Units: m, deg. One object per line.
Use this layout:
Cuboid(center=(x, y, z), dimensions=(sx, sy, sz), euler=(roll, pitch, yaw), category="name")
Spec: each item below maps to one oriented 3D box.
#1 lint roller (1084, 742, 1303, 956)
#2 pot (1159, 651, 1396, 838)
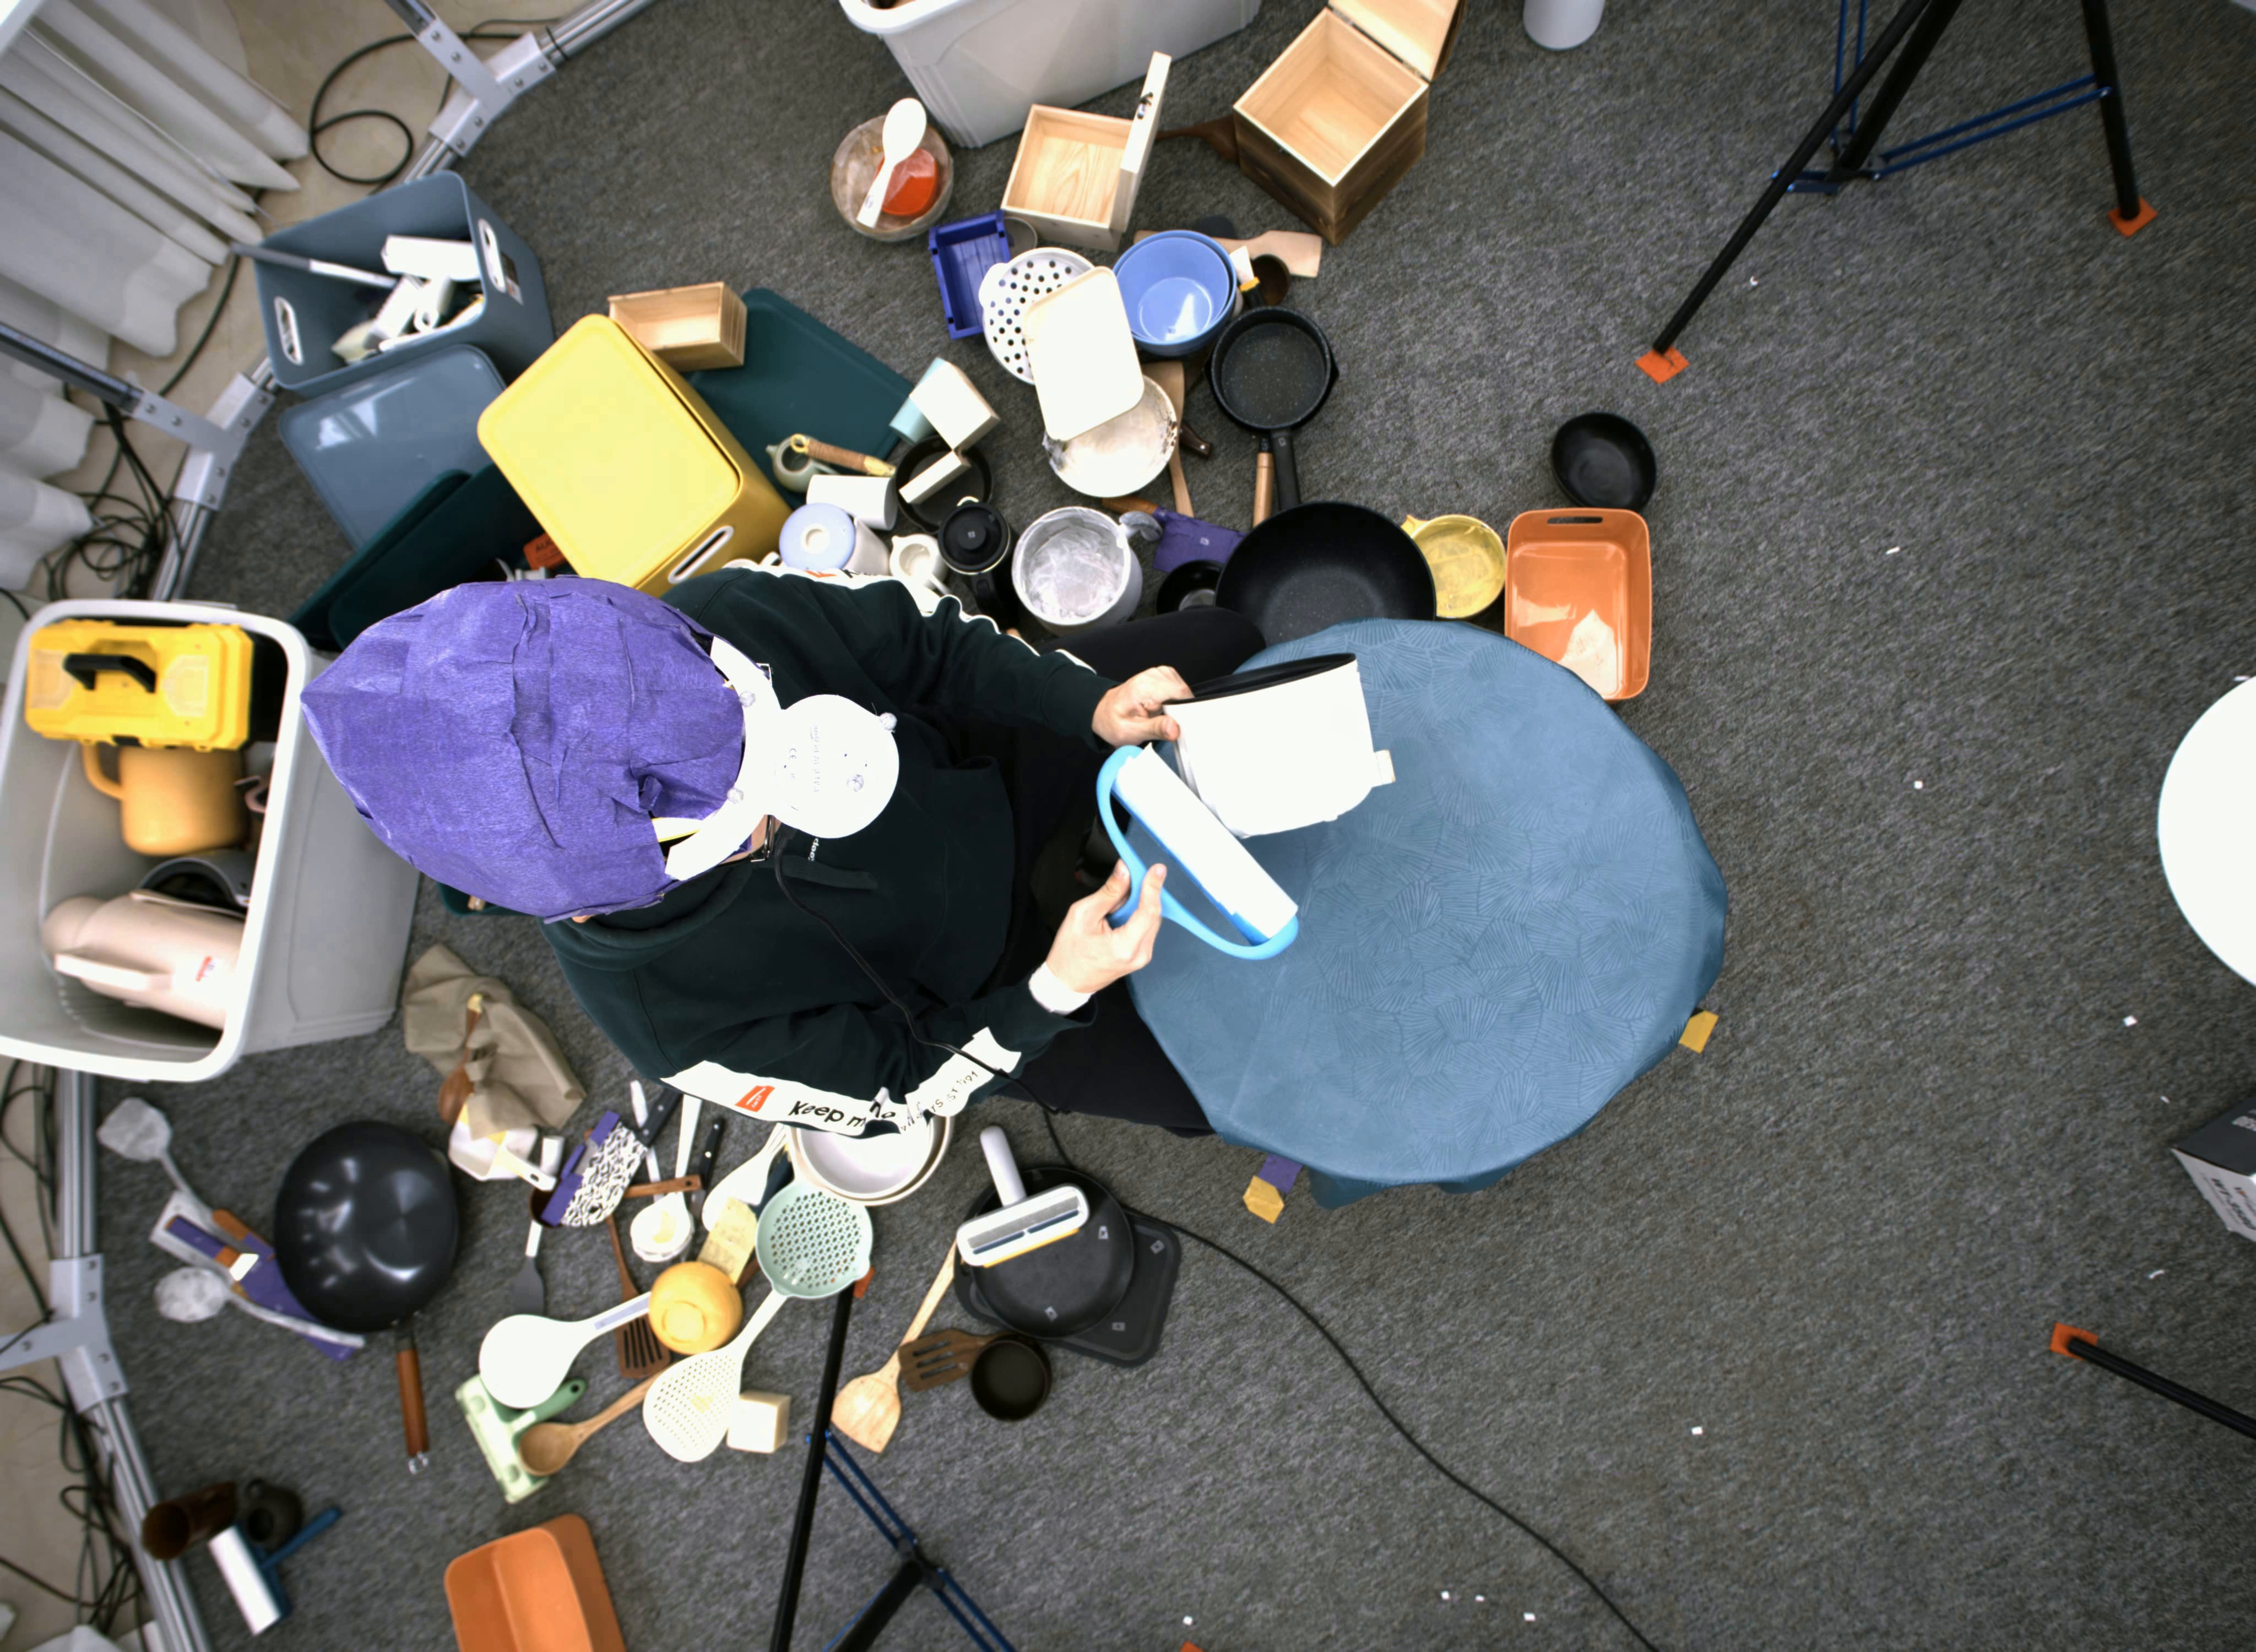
Cuboid(center=(0.025, 0.057, 1.221), dimensions=(0.229, 0.067, 0.182), euler=(43, 105, -2), category="lint roller")
Cuboid(center=(0.138, -0.075, 1.256), dimensions=(0.192, 0.237, 0.144), euler=(-15, 102, 11), category="pot")
